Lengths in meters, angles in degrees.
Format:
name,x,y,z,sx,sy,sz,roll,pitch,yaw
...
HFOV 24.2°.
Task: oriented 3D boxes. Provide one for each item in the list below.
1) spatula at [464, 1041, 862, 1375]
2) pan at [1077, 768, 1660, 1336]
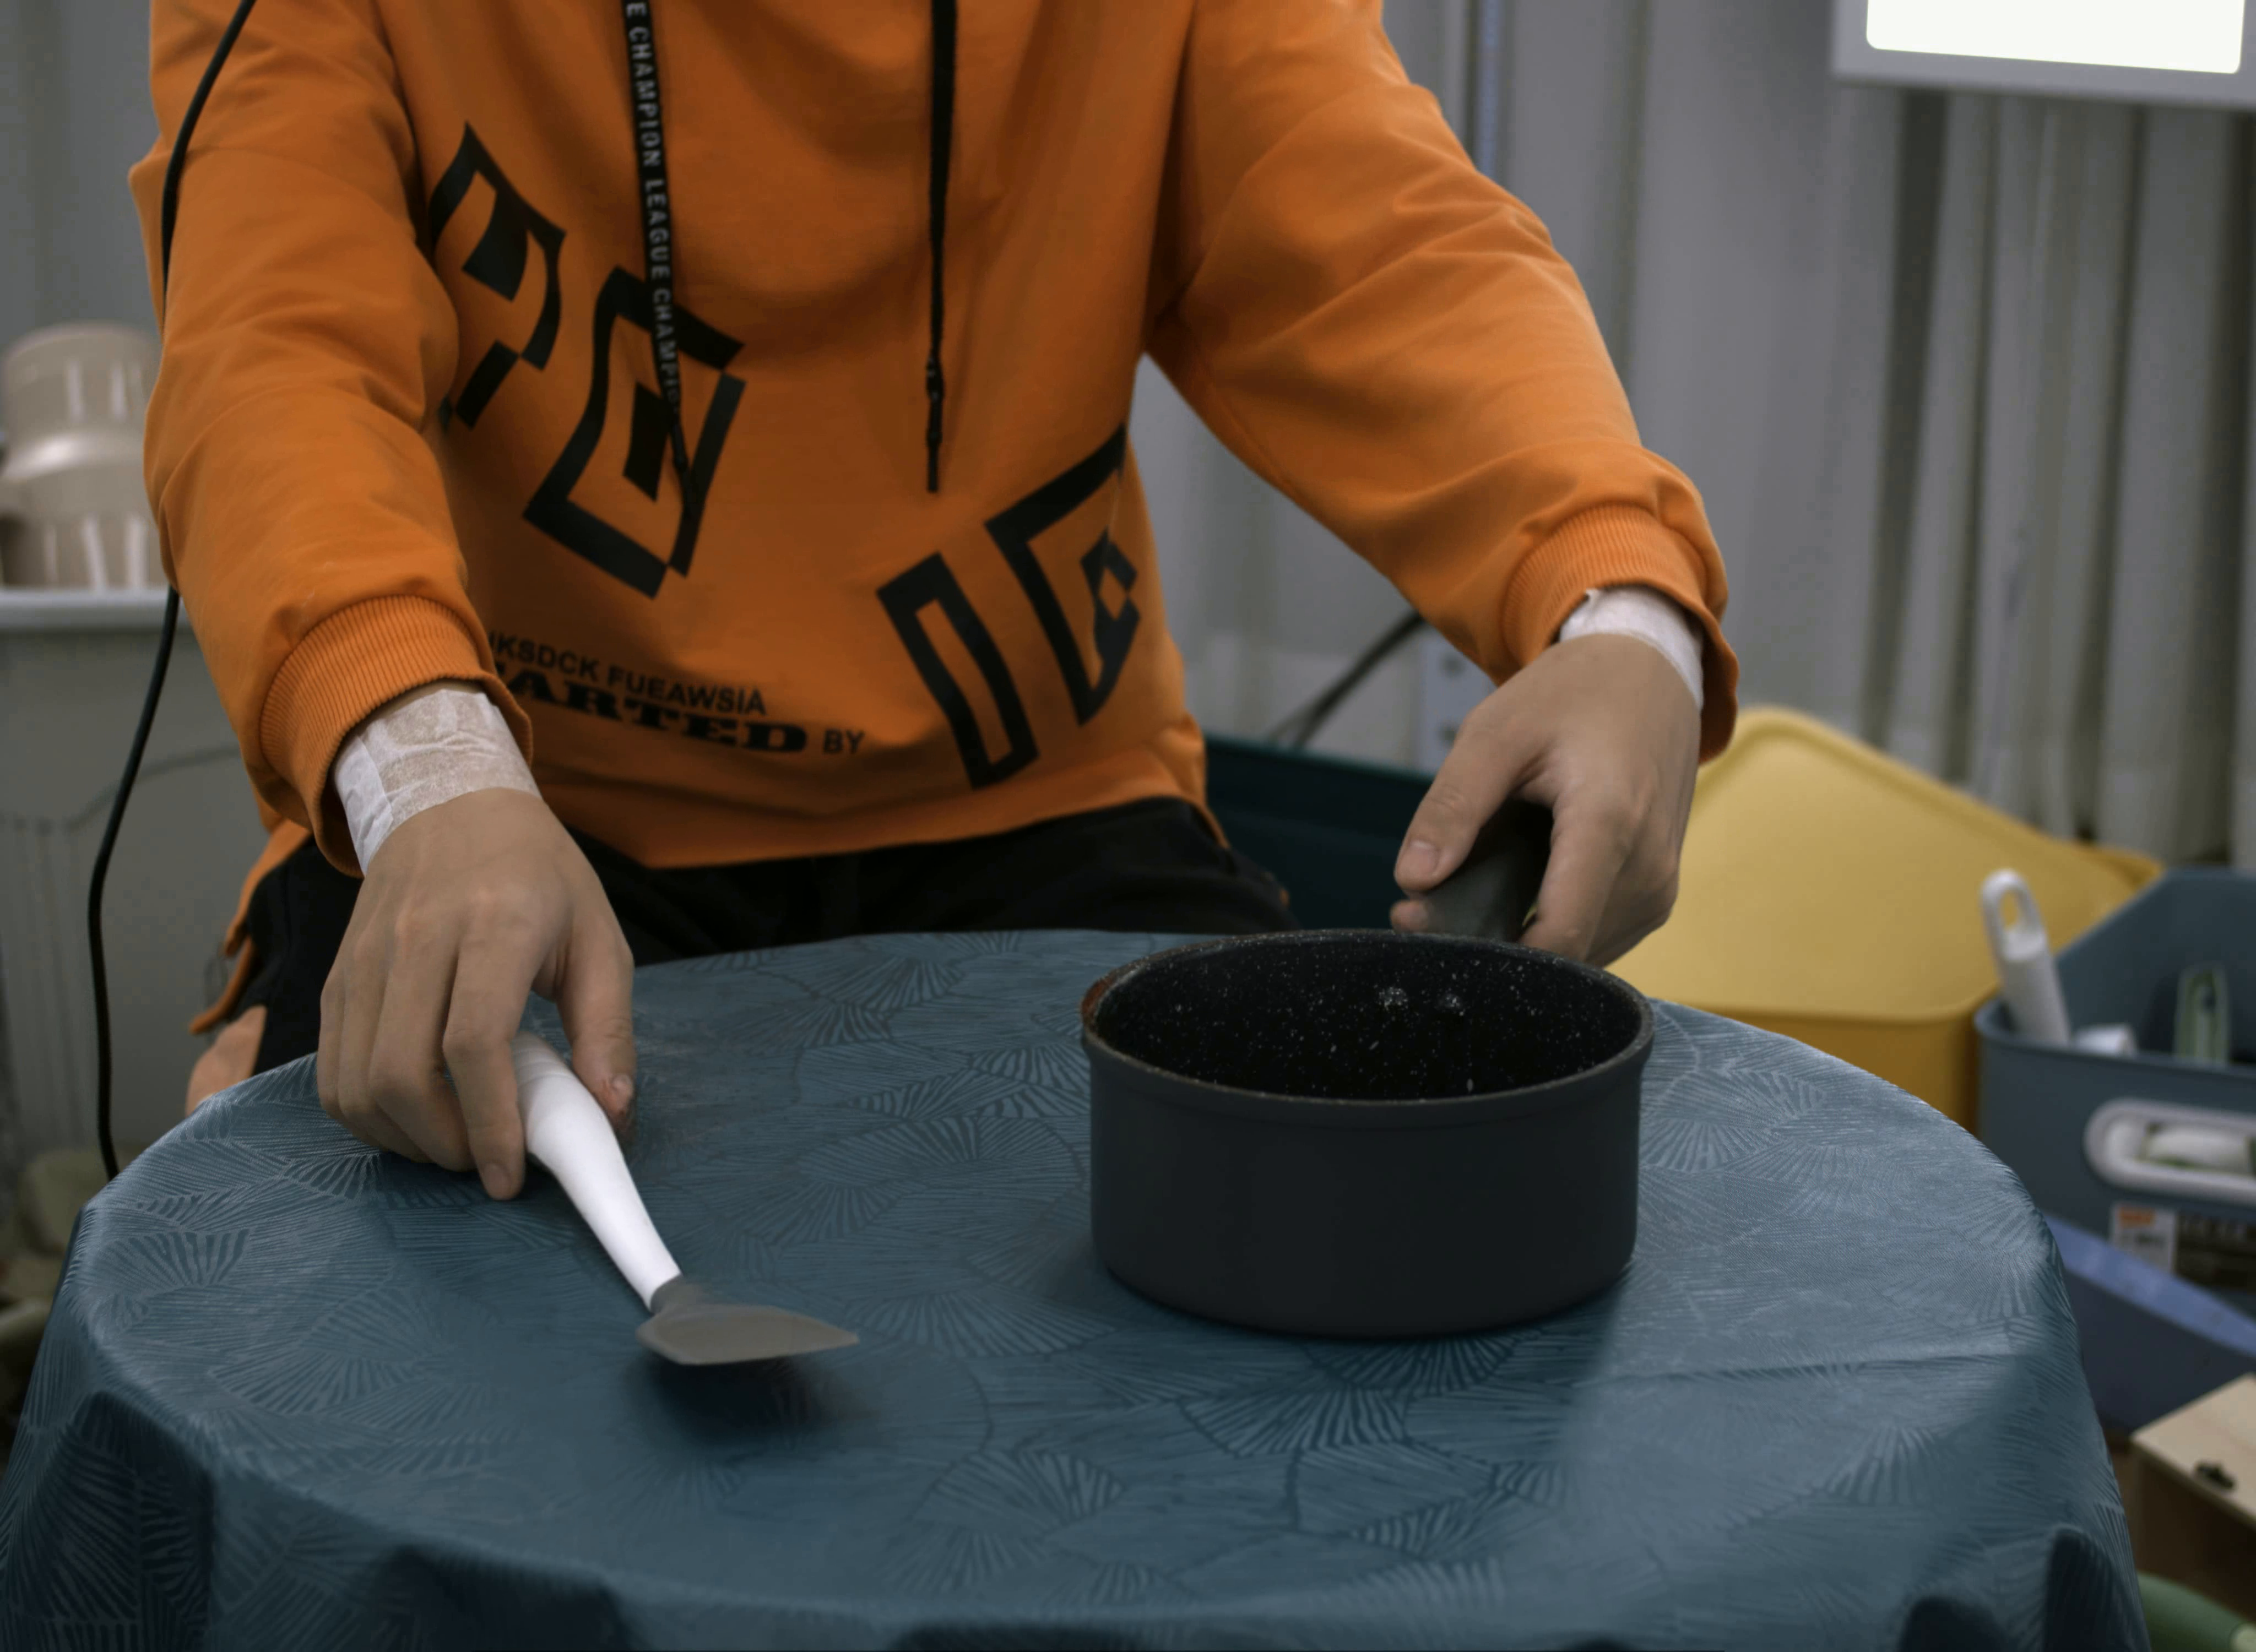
name,x,y,z,sx,sy,sz,roll,pitch,yaw
spatula,-0.145,0.117,1.543,0.059,0.032,0.284,-2,15,-21
pan,0.095,0.066,1.634,0.170,0.087,0.328,6,18,17
